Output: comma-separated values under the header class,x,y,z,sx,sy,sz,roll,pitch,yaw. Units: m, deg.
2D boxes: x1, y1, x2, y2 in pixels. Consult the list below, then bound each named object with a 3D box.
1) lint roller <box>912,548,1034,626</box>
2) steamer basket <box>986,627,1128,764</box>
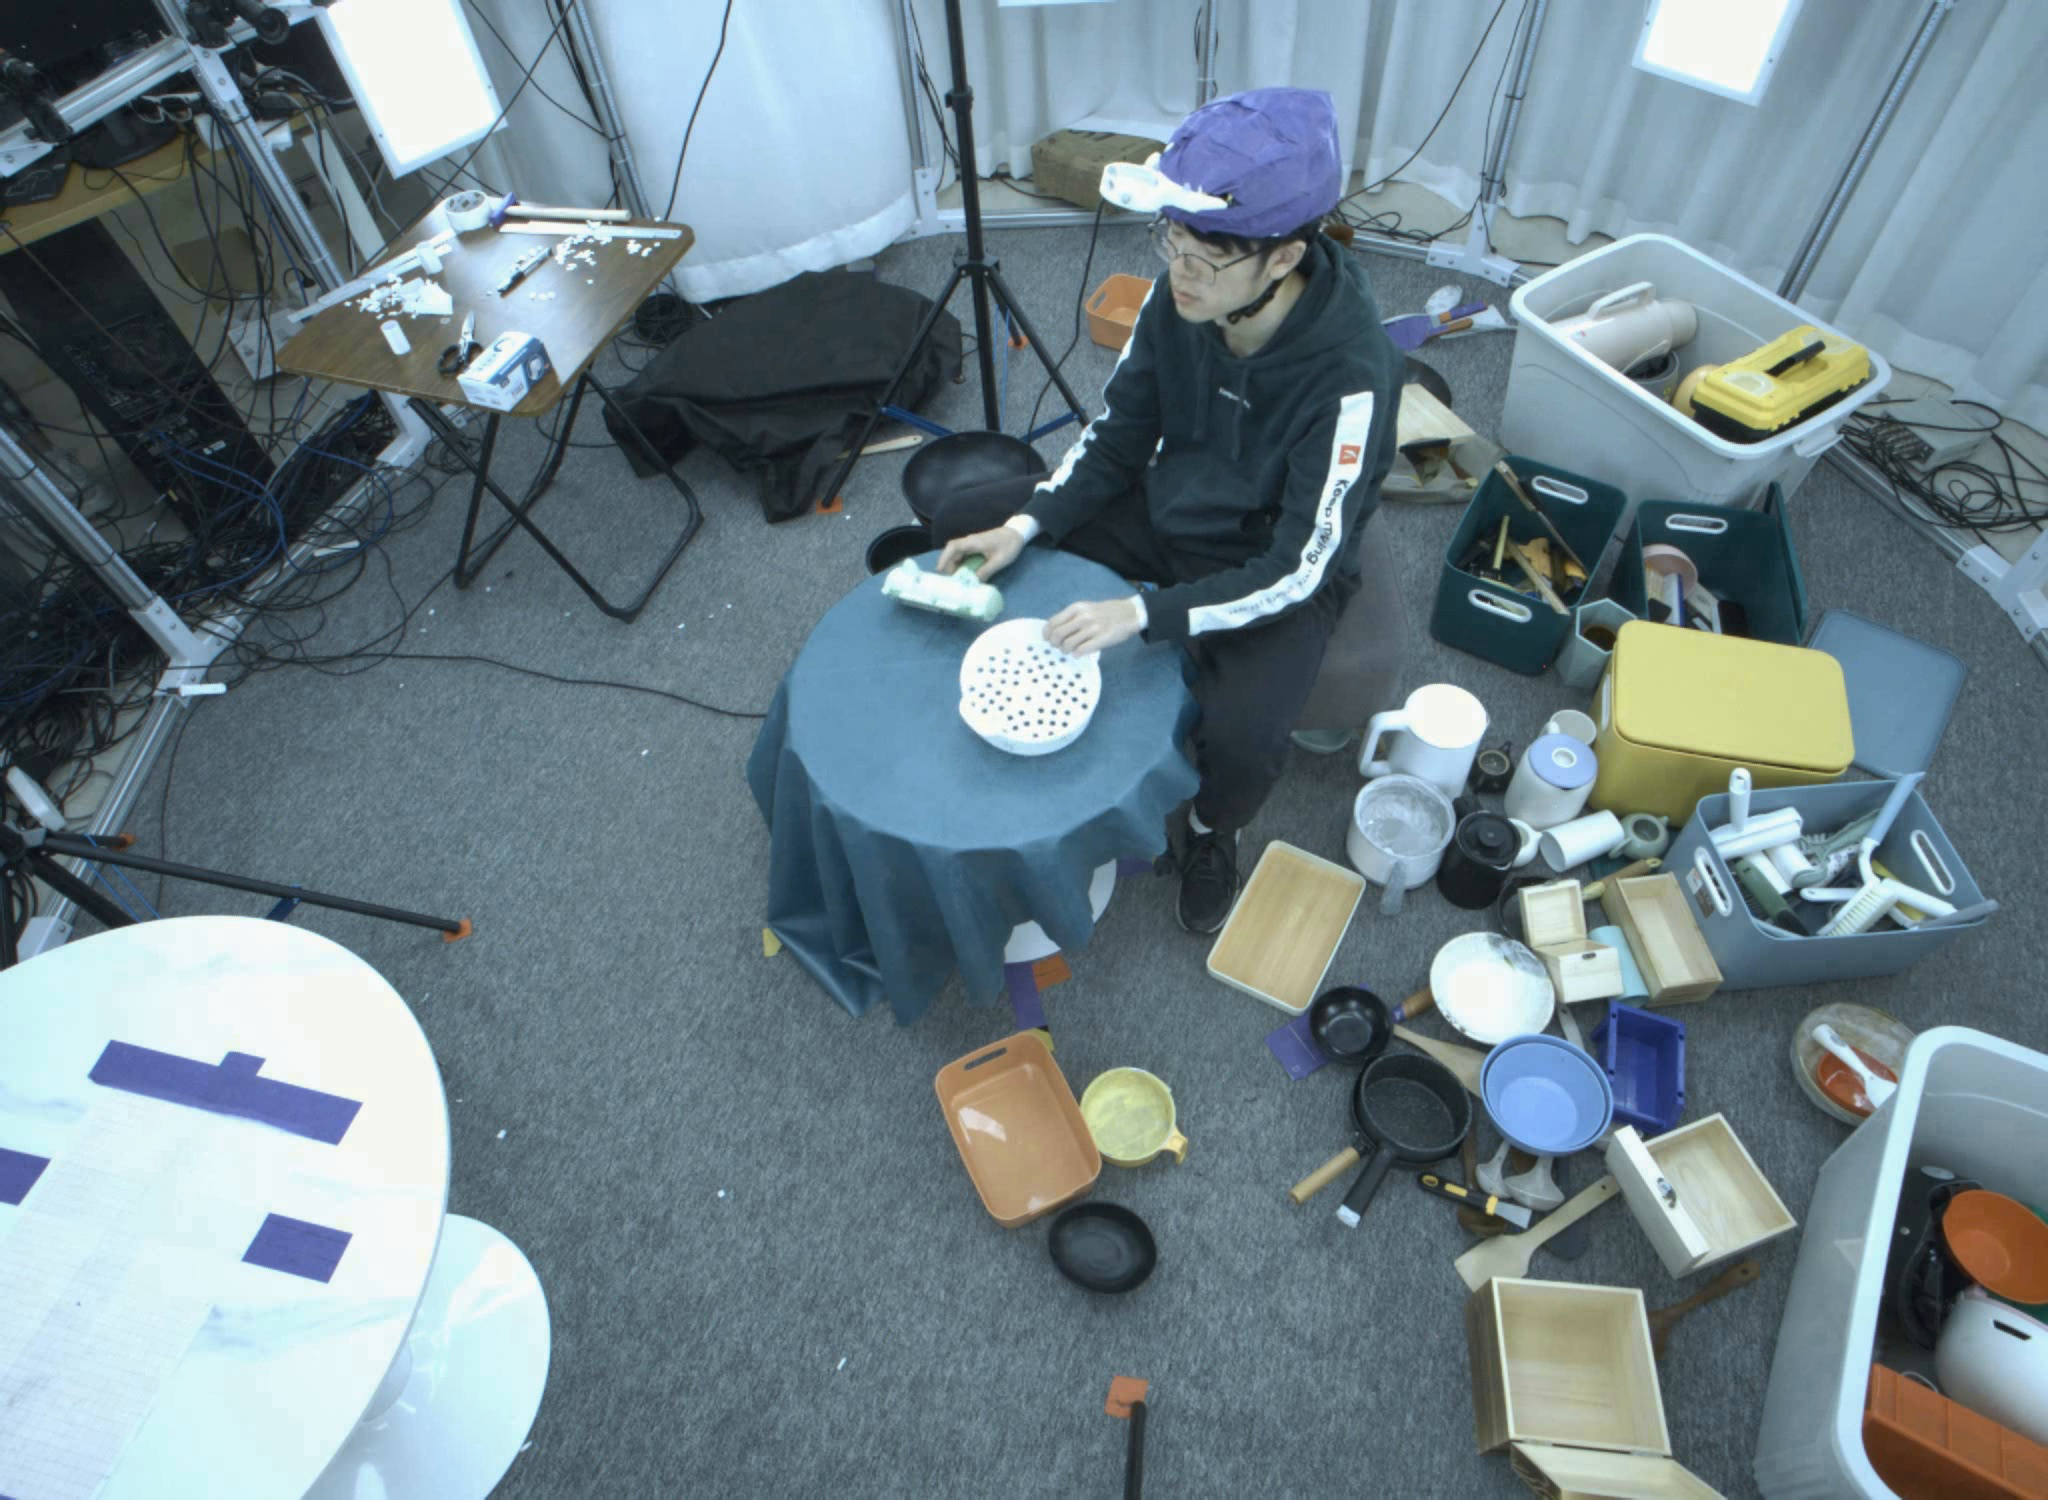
class,x,y,z,sx,sy,sz,roll,pitch,yaw
lint roller,-0.051,-0.281,1.920,0.195,0.083,0.184,20,56,28
steamer basket,0.047,-0.076,1.774,0.232,0.070,0.199,-38,72,-17
